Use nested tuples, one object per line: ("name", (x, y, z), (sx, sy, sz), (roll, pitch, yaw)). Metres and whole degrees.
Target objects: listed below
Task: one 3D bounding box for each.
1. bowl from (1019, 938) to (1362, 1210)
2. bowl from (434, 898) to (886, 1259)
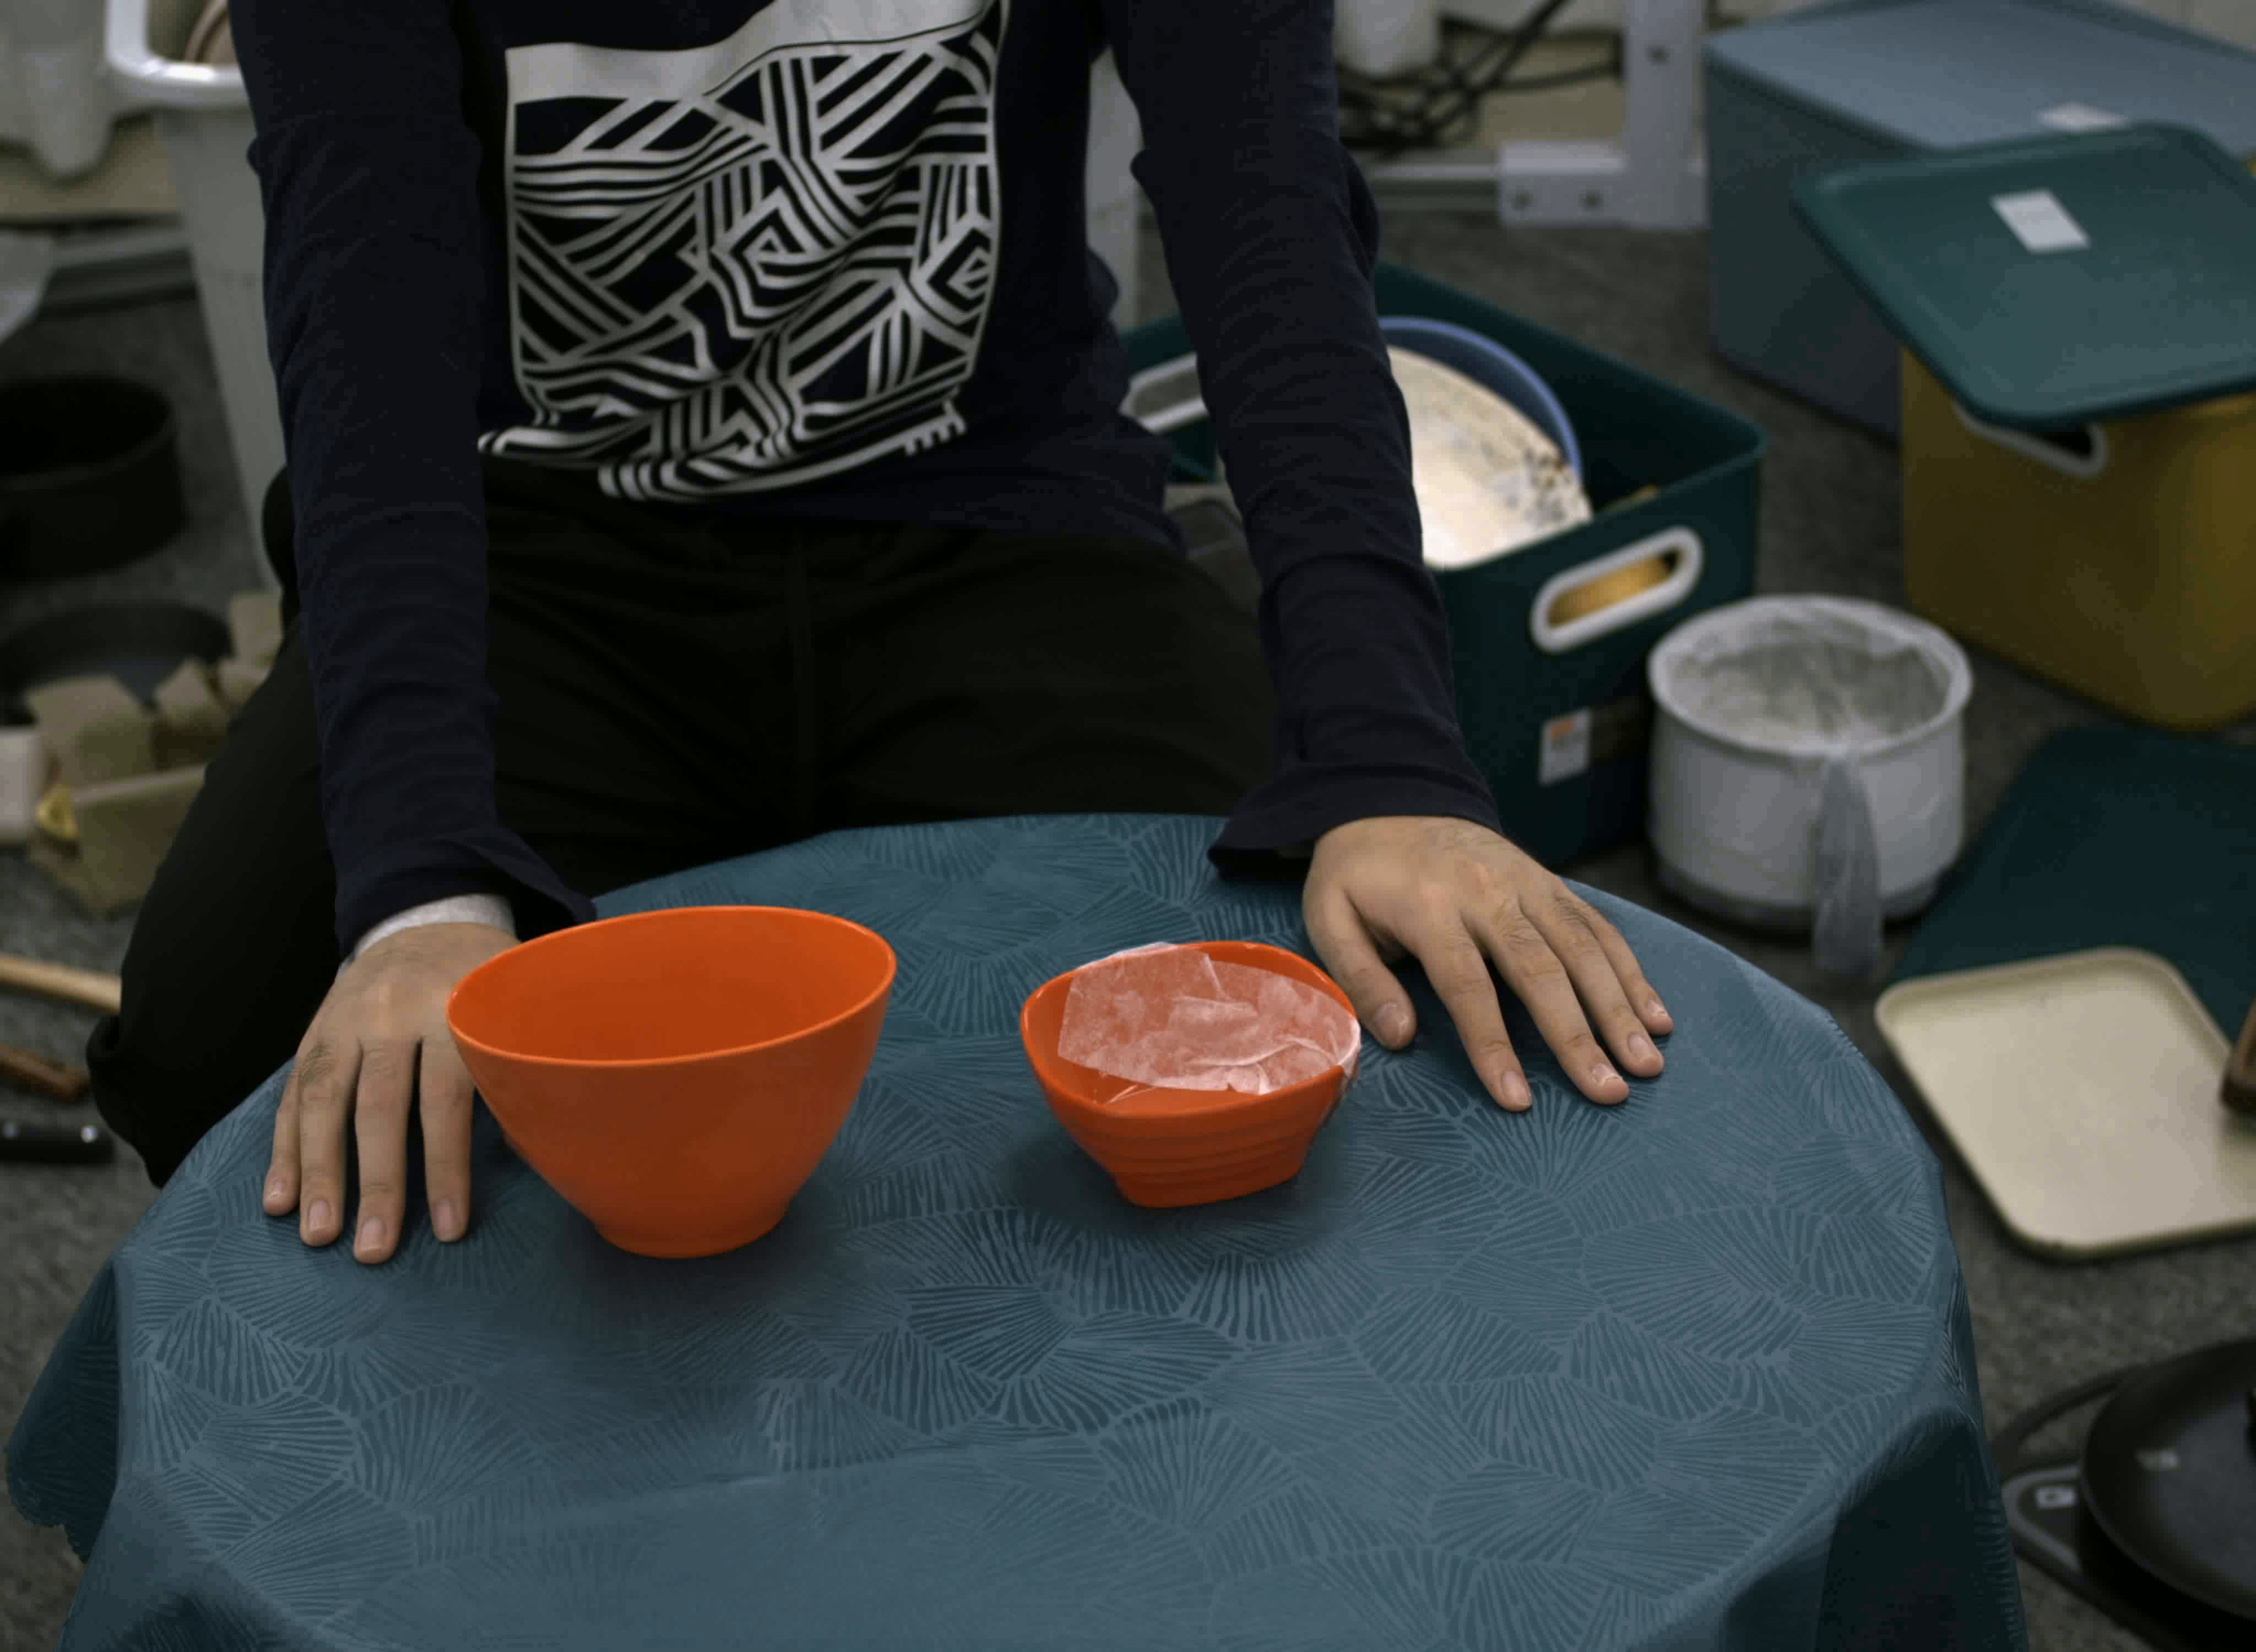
("bowl", (0.022, 0.087, 1.872), (0.118, 0.051, 0.121), (-3, 27, 2))
("bowl", (-0.149, 0.087, 1.834), (0.147, 0.103, 0.150), (-3, 27, 2))
